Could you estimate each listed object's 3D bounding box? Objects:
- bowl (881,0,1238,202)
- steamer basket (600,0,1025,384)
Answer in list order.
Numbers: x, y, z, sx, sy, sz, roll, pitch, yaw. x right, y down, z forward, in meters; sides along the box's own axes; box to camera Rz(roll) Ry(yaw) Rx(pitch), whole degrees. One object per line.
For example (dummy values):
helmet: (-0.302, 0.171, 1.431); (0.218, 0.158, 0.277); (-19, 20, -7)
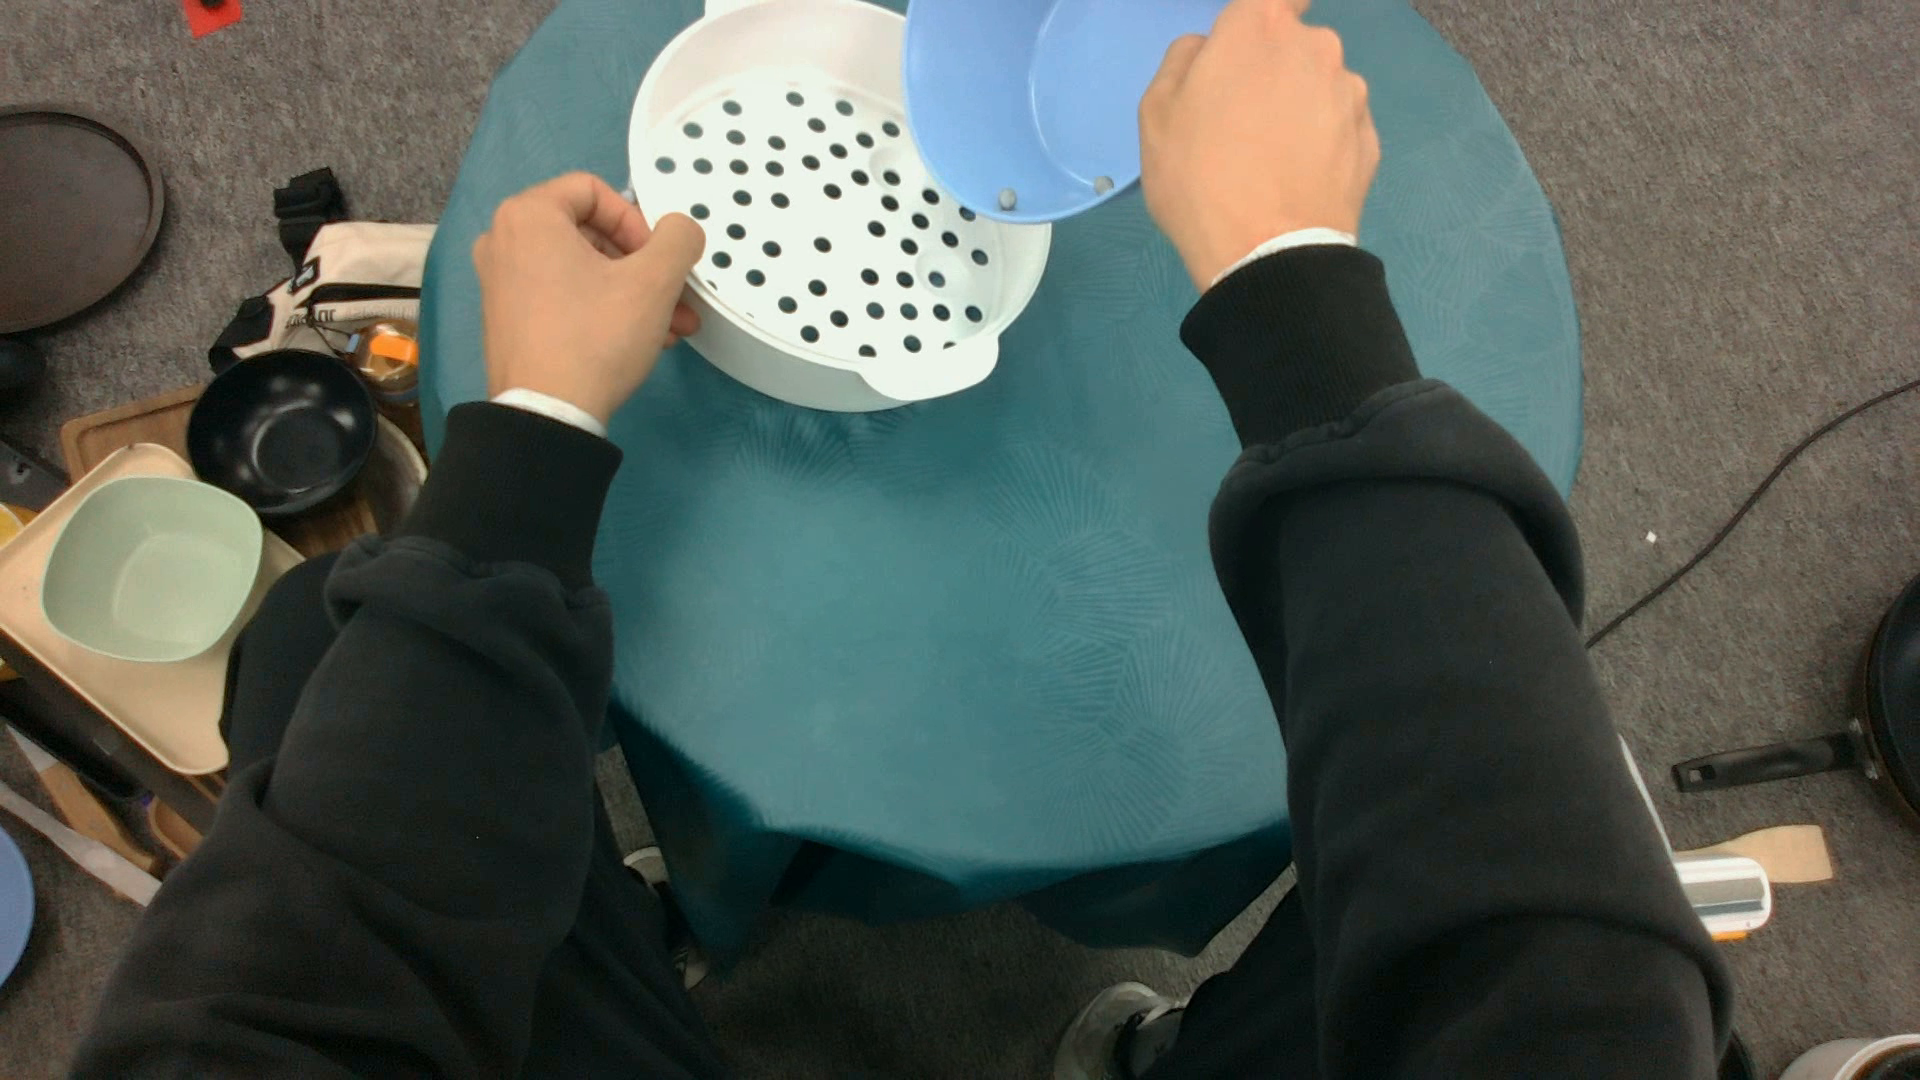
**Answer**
bowl: (0.051, -0.227, 0.590); (0.070, 0.175, 0.176); (3, 64, -50)
steamer basket: (-0.072, -0.171, 0.665); (0.202, 0.069, 0.231); (-18, 75, -27)
